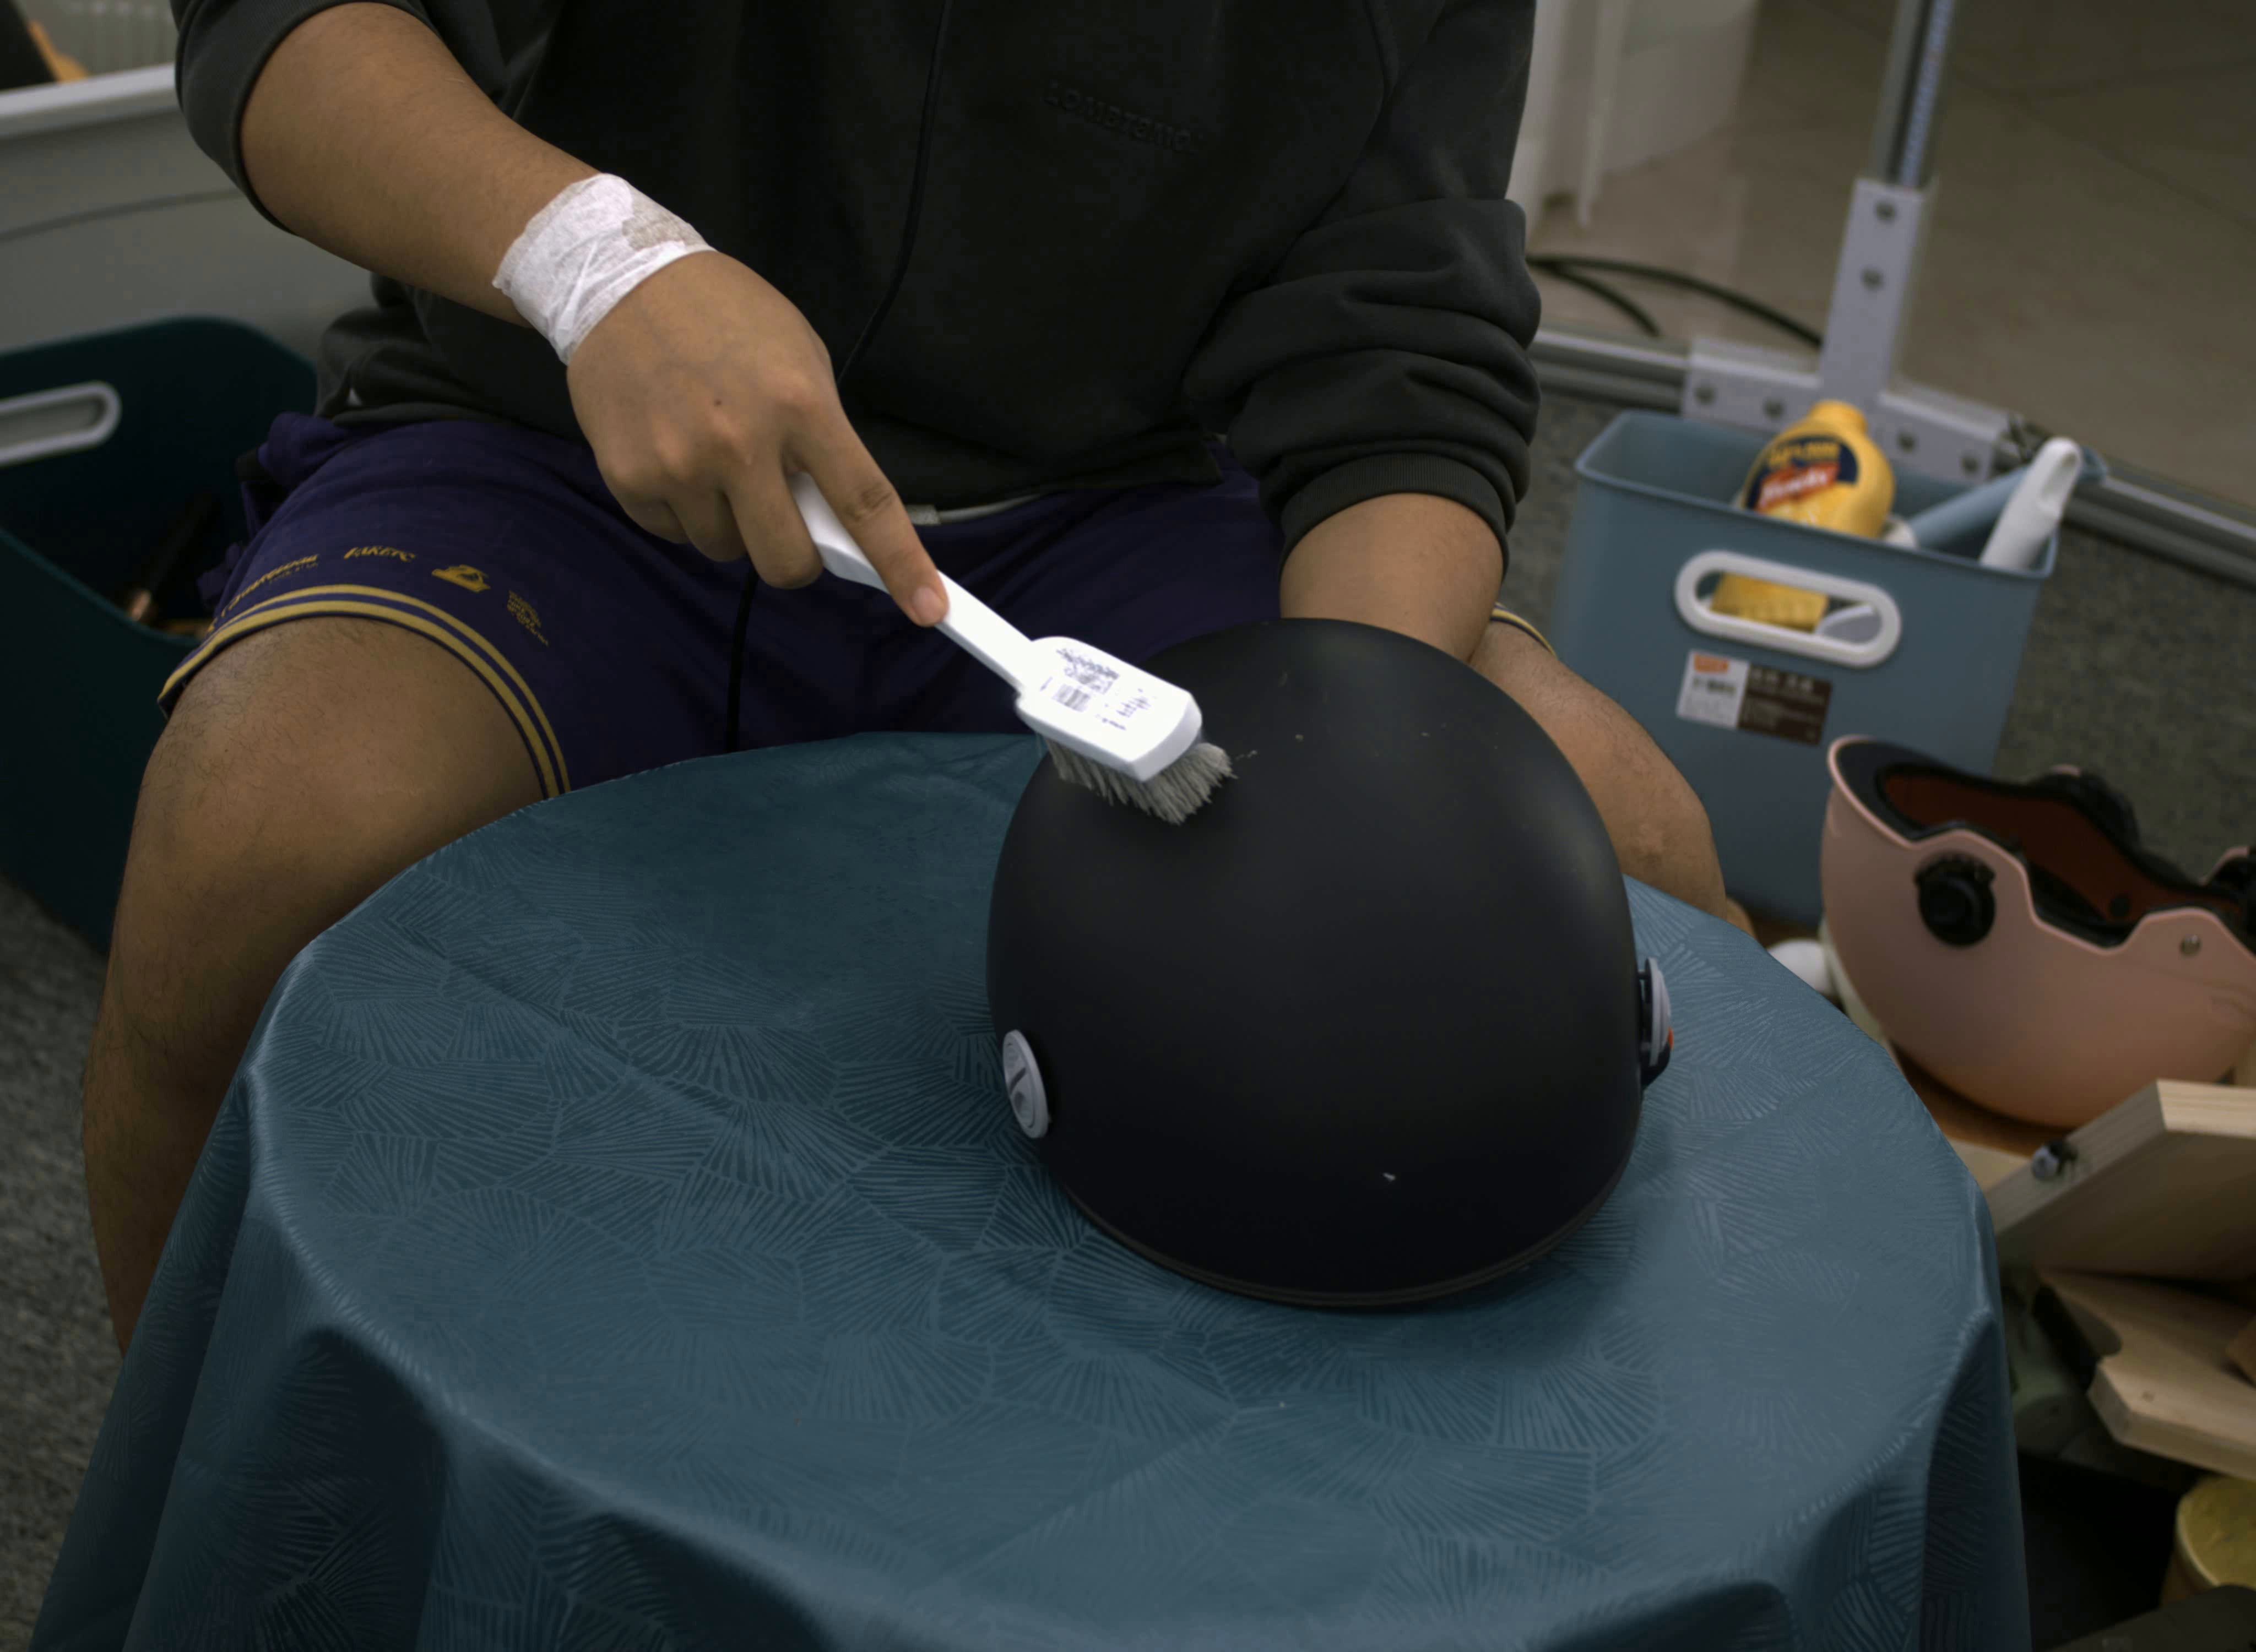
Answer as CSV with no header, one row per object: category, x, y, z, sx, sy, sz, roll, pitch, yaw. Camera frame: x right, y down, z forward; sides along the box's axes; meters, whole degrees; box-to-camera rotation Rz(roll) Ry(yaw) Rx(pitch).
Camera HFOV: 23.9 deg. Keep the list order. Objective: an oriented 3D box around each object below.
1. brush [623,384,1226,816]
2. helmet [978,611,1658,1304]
brush,-0.071,-0.076,1.786,0.245,0.050,0.034,32,68,22
helmet,0.062,0.025,1.818,0.229,0.166,0.275,-6,32,-6
